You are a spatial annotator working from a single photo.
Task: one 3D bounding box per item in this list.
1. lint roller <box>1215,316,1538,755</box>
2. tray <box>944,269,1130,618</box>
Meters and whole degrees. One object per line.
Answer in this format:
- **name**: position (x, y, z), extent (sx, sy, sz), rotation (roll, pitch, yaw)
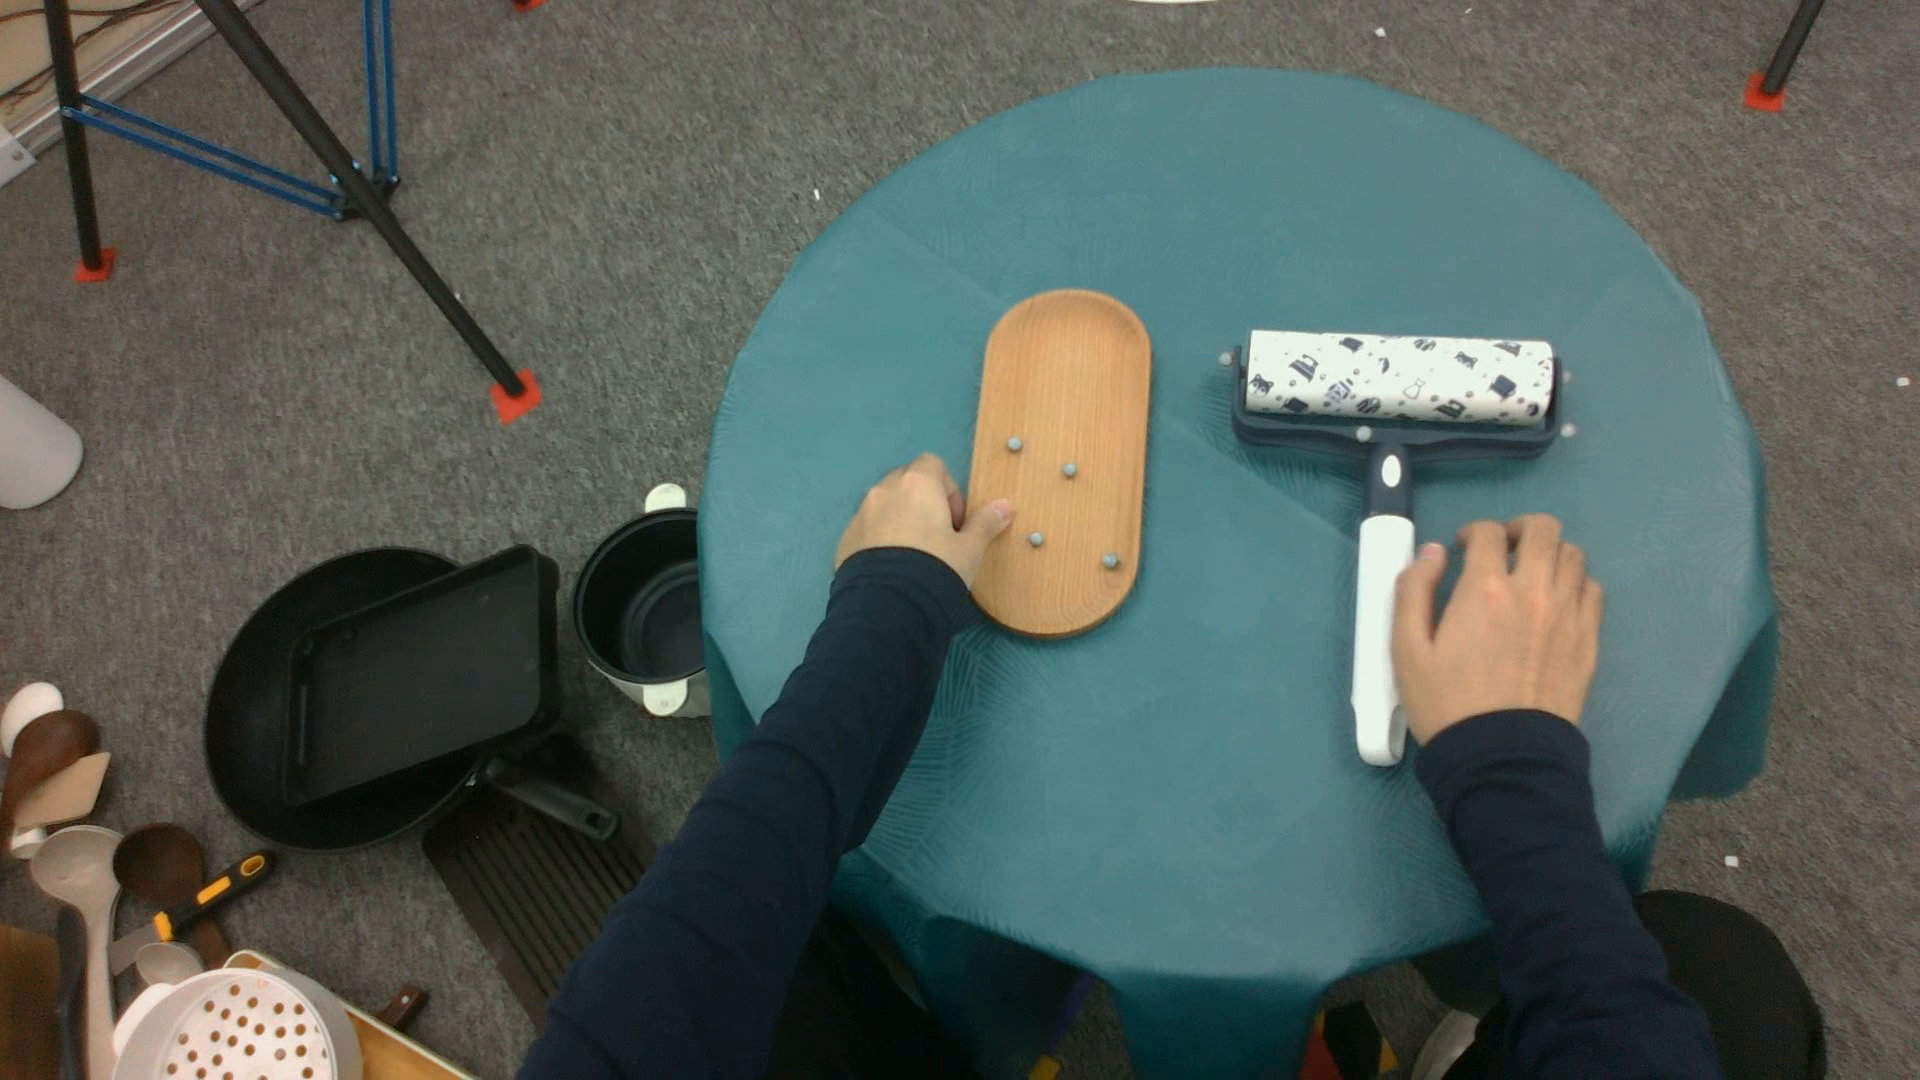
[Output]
- **lint roller**: position (0.223, -0.008, 0.745), extent (0.176, 0.050, 0.248), rotation (4, 67, 8)
- **tray**: position (0.047, -0.061, 0.807), extent (0.101, 0.020, 0.232), rotation (3, 63, 5)
